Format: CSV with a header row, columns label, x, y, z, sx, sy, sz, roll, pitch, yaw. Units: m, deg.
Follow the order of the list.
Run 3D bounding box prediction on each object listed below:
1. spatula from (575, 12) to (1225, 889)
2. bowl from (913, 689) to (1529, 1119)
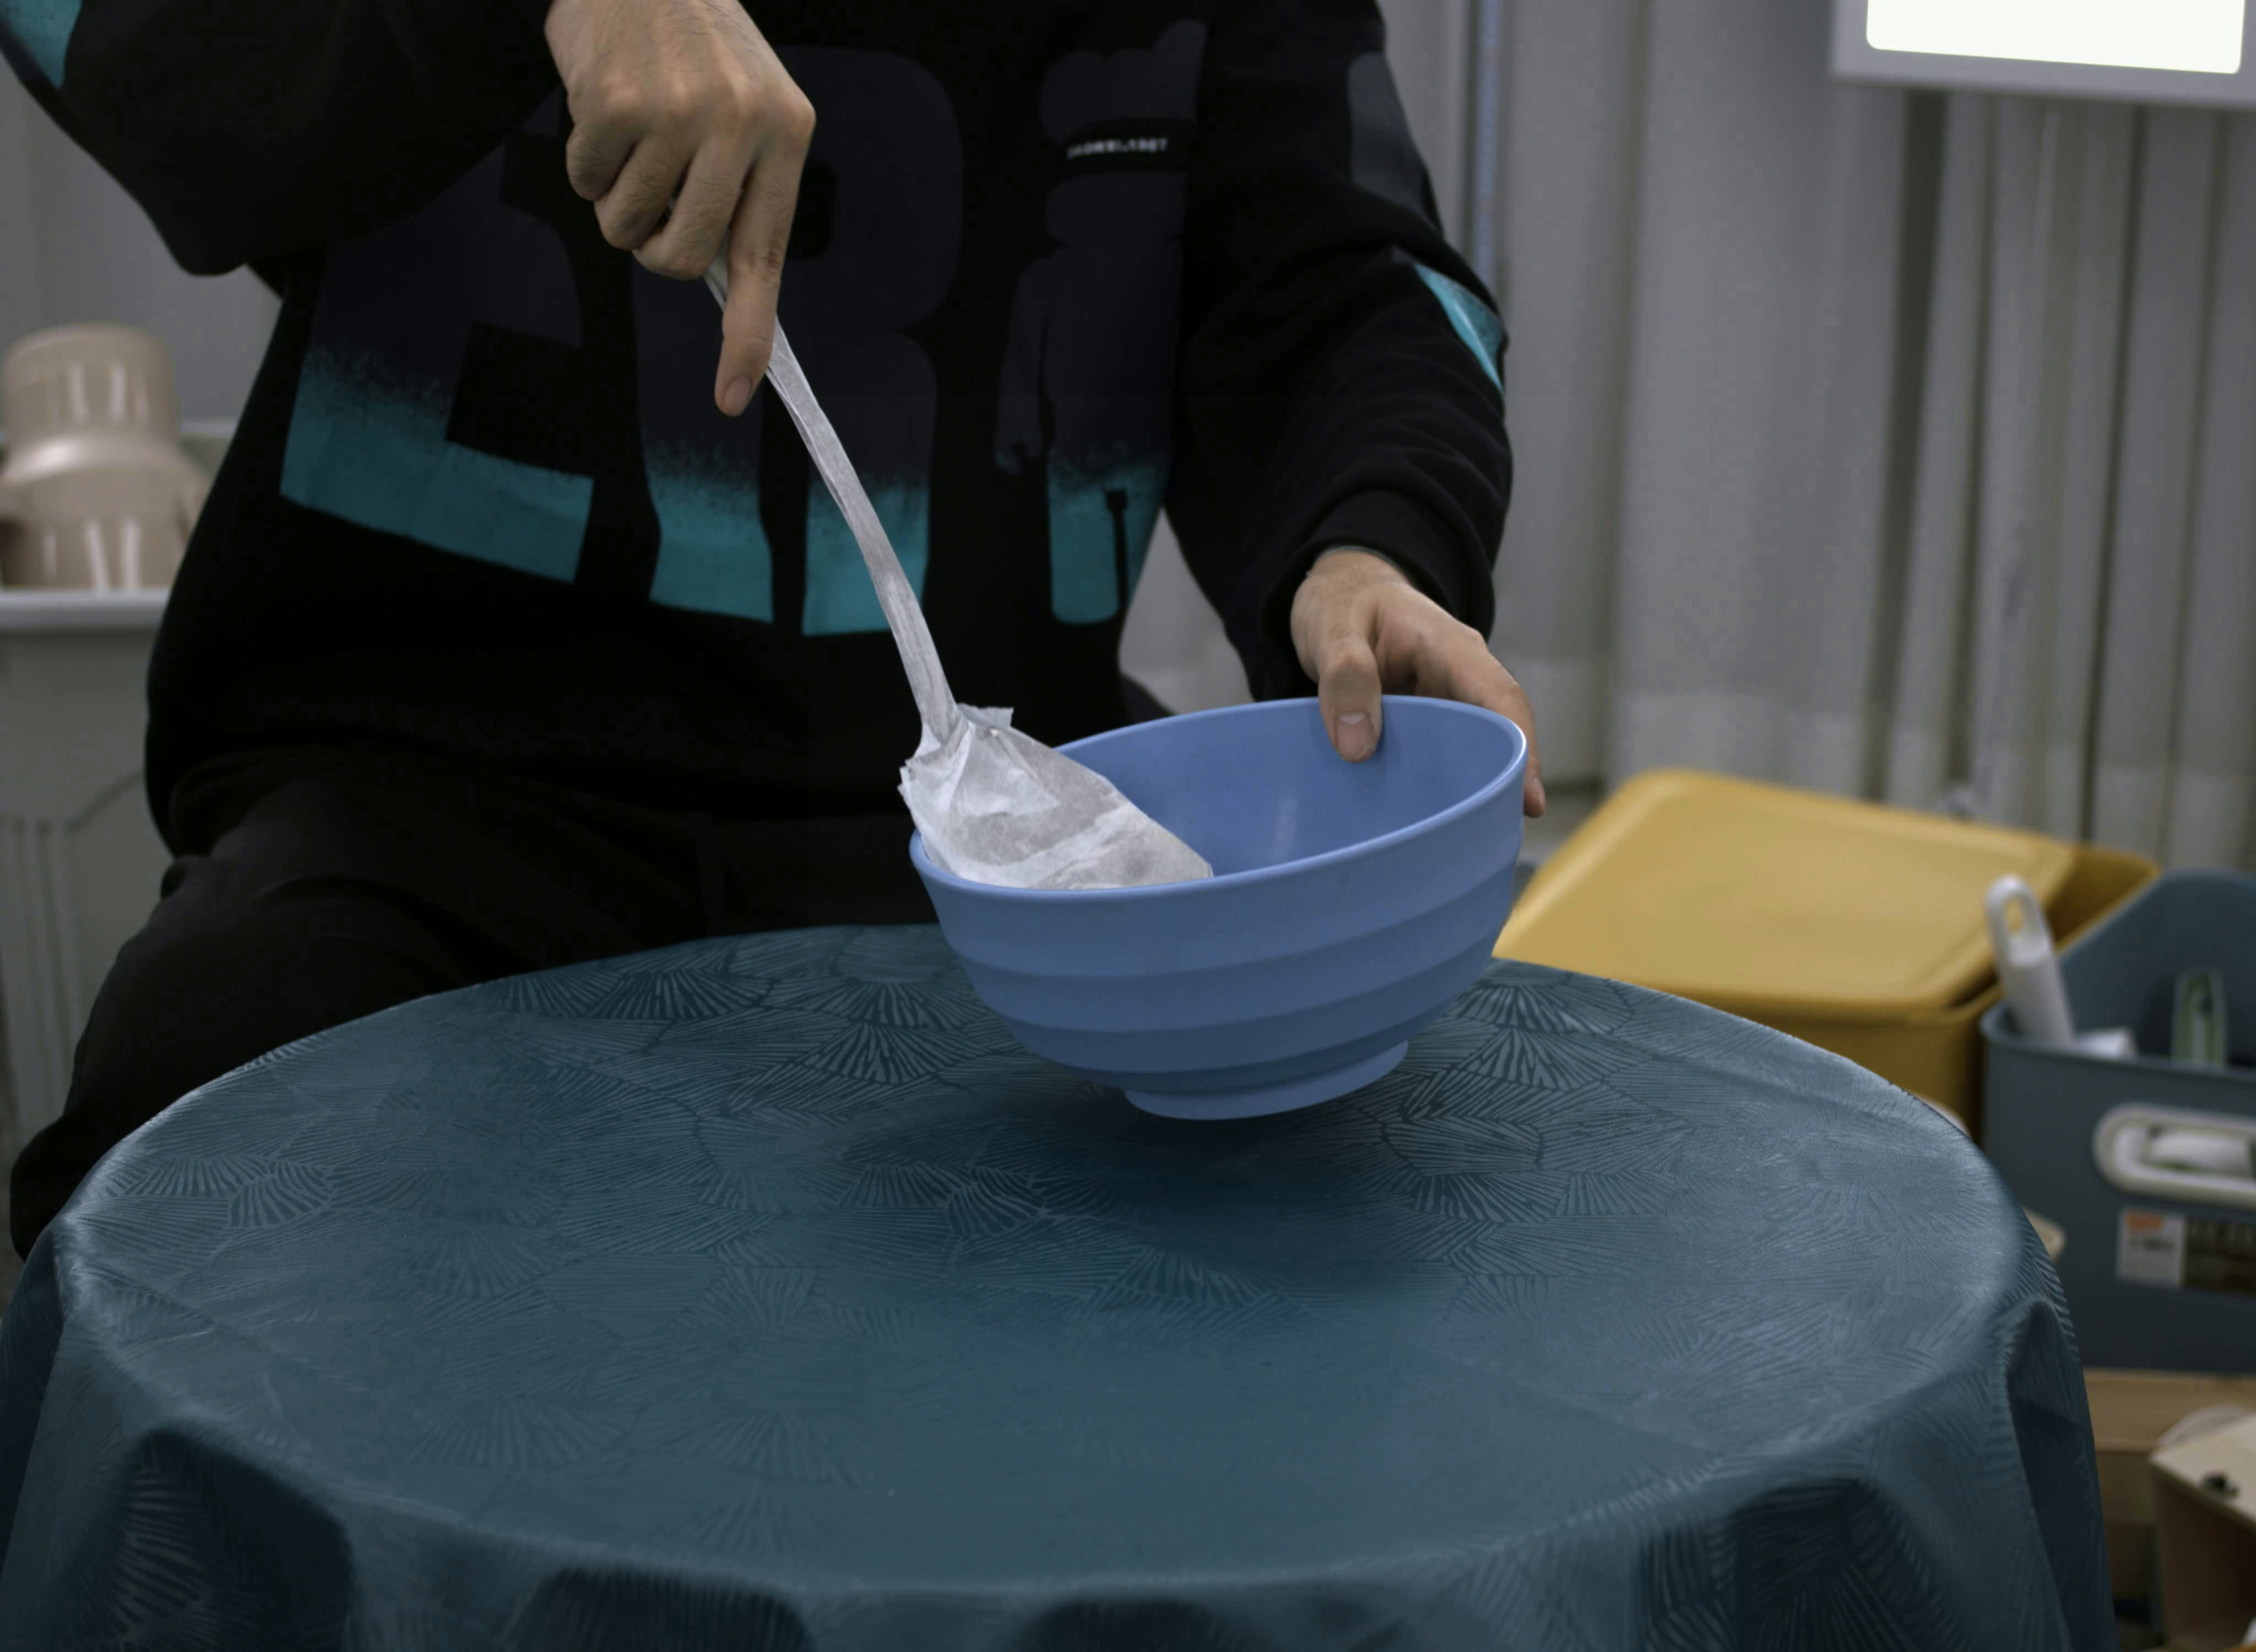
label,x,y,z,sx,sy,sz,roll,pitch,yaw
spatula,-0.086,-0.113,1.690,0.044,0.365,0.099,-31,-5,40
bowl,0.037,0.032,1.661,0.196,0.096,0.195,-9,17,4
